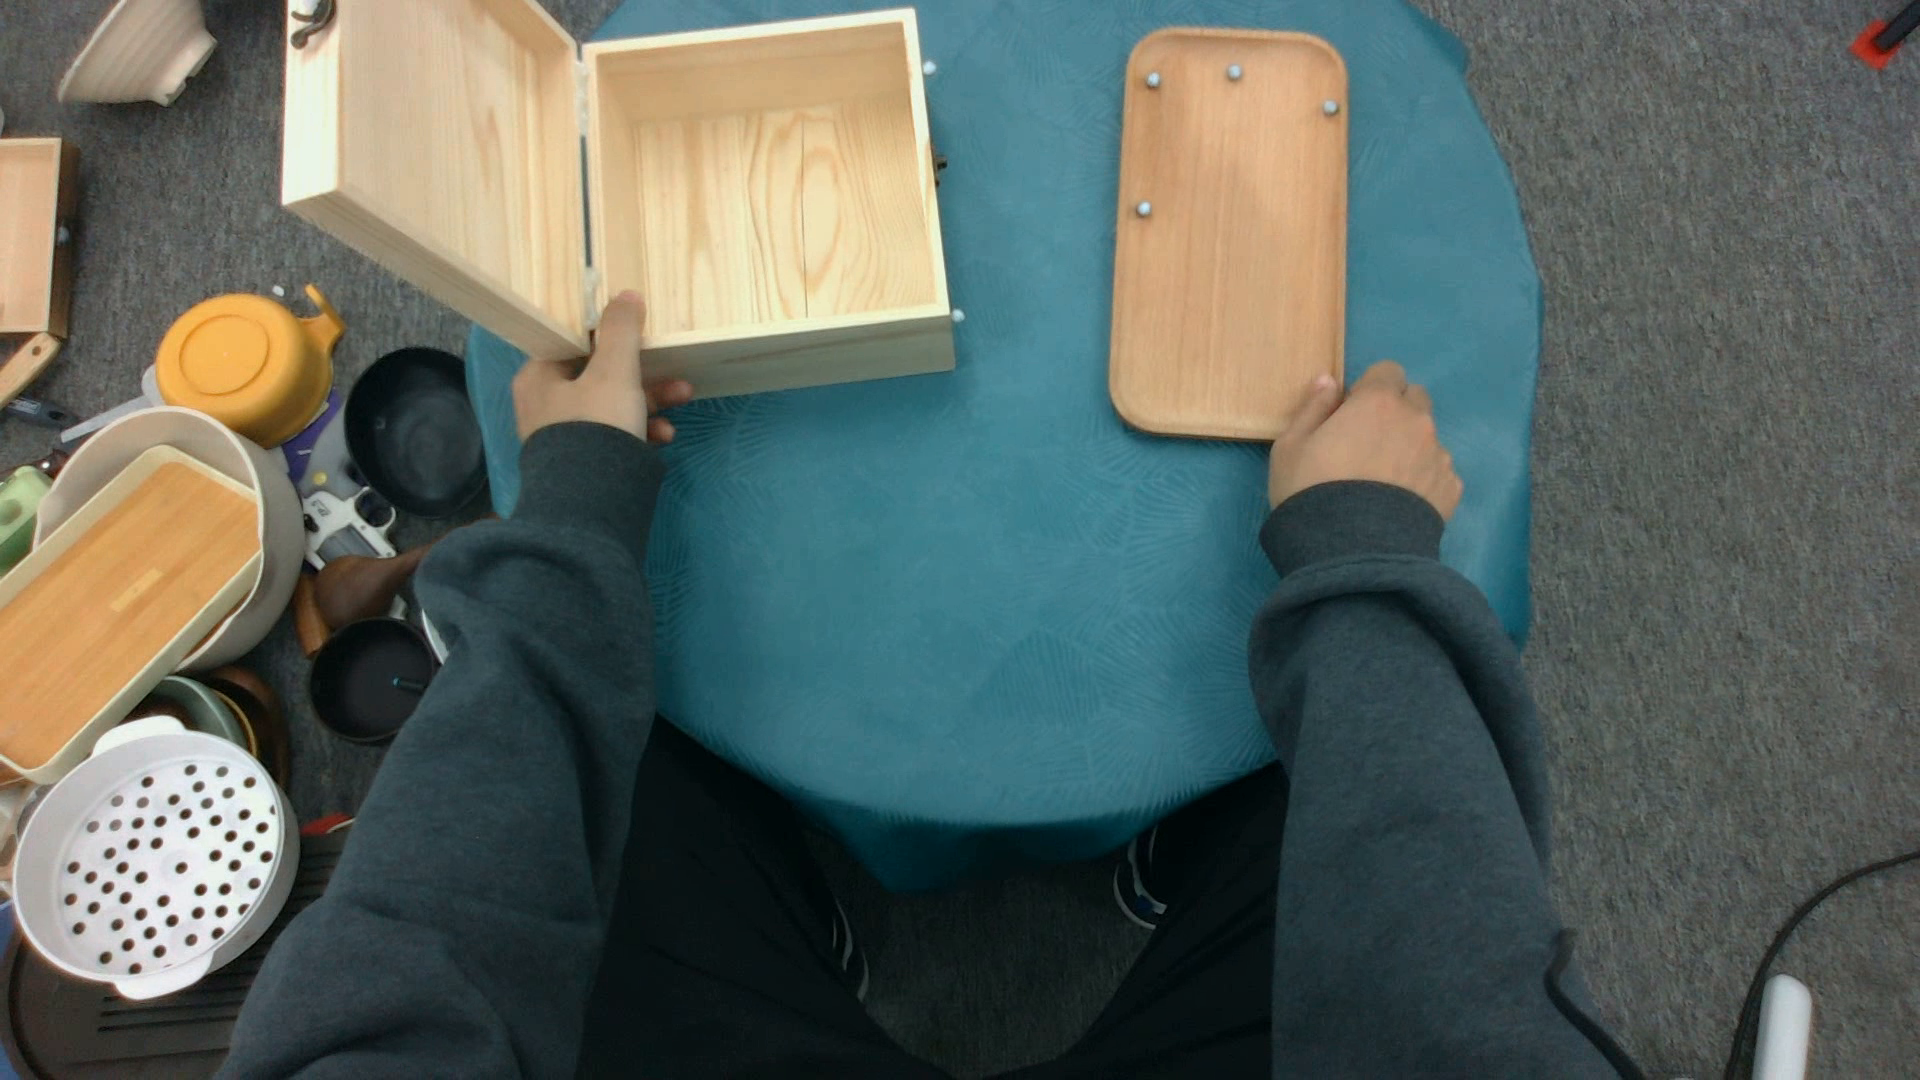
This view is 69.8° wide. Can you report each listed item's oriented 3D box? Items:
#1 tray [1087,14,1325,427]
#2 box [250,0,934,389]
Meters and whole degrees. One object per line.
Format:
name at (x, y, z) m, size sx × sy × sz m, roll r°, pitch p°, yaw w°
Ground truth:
tray at (0.140, -0.183, 0.777) m, size 0.130 × 0.023 × 0.251 m, roll 3°, pitch 75°, yaw 5°
box at (-0.152, -0.204, 0.670) m, size 0.265 × 0.253 × 0.182 m, roll -8°, pitch 78°, yaw 0°
